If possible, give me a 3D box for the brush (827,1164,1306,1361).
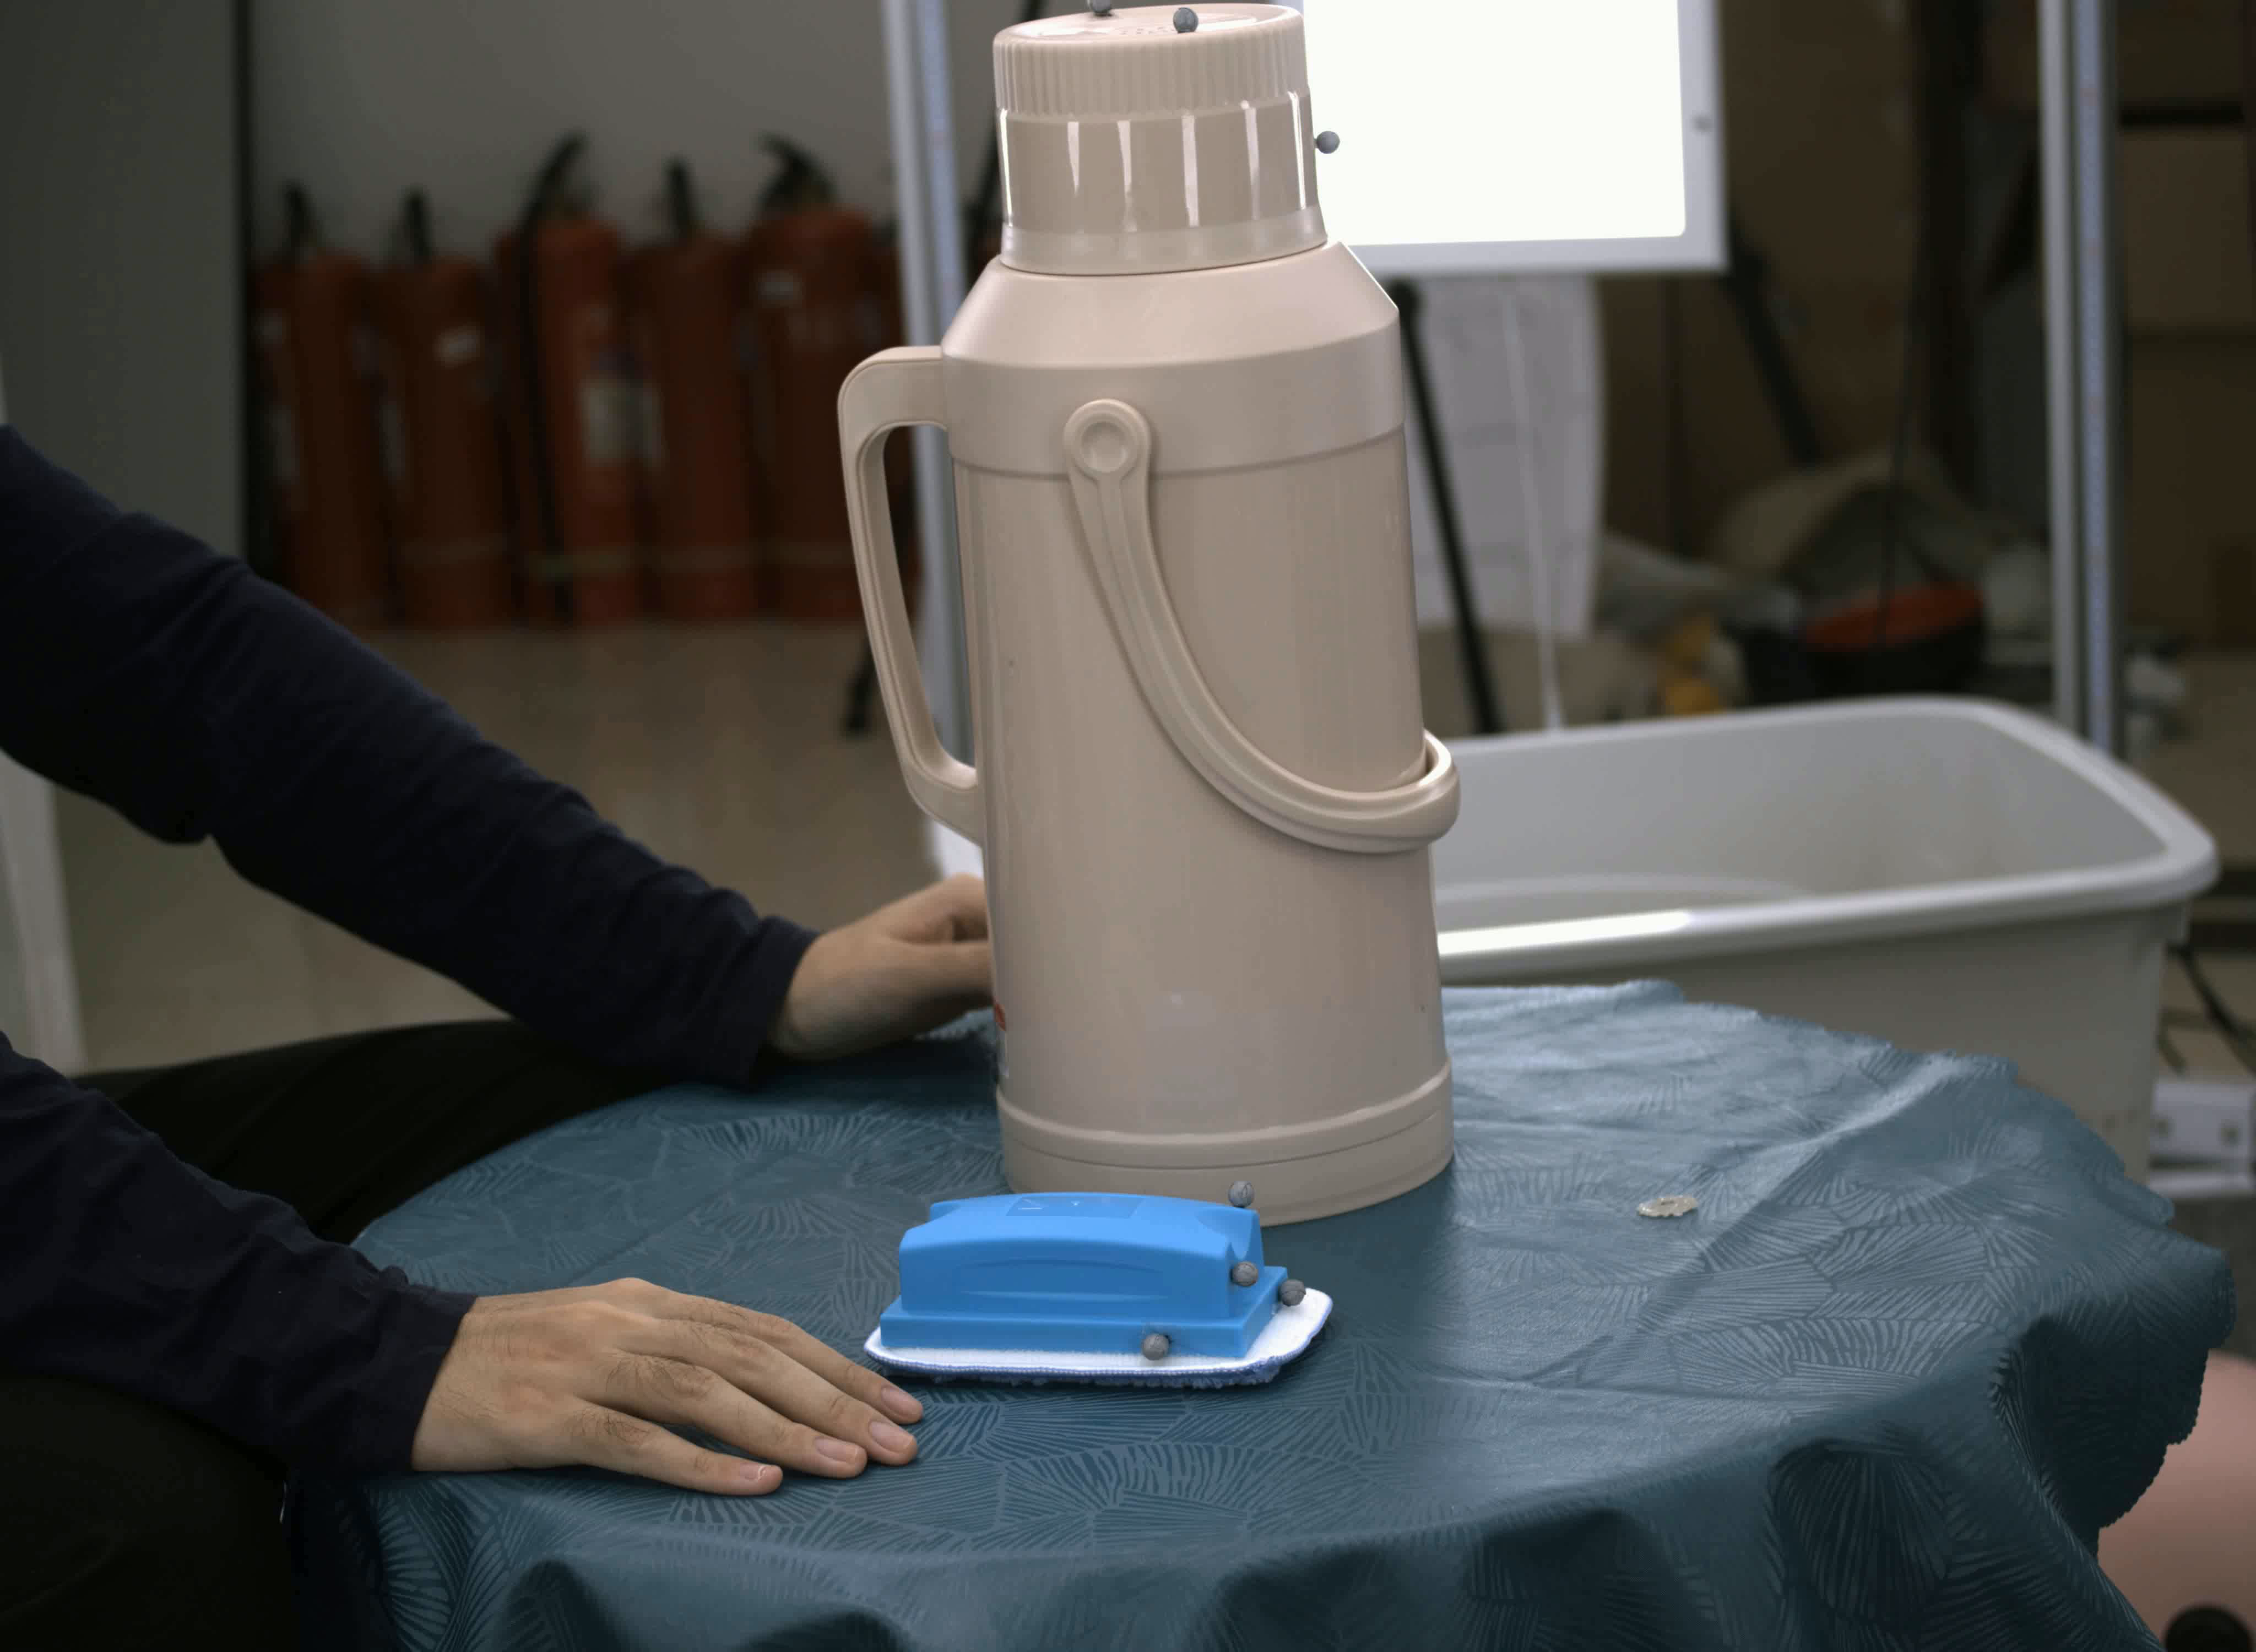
[{"bbox_3d":[-0.019,0.137,1.733,0.146,0.056,0.082,3,12,20],"label":"brush"}]

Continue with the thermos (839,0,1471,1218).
[{"bbox_3d":[0.010,-0.076,1.885,0.209,0.408,0.173,-1,16,17],"label":"thermos"}]
